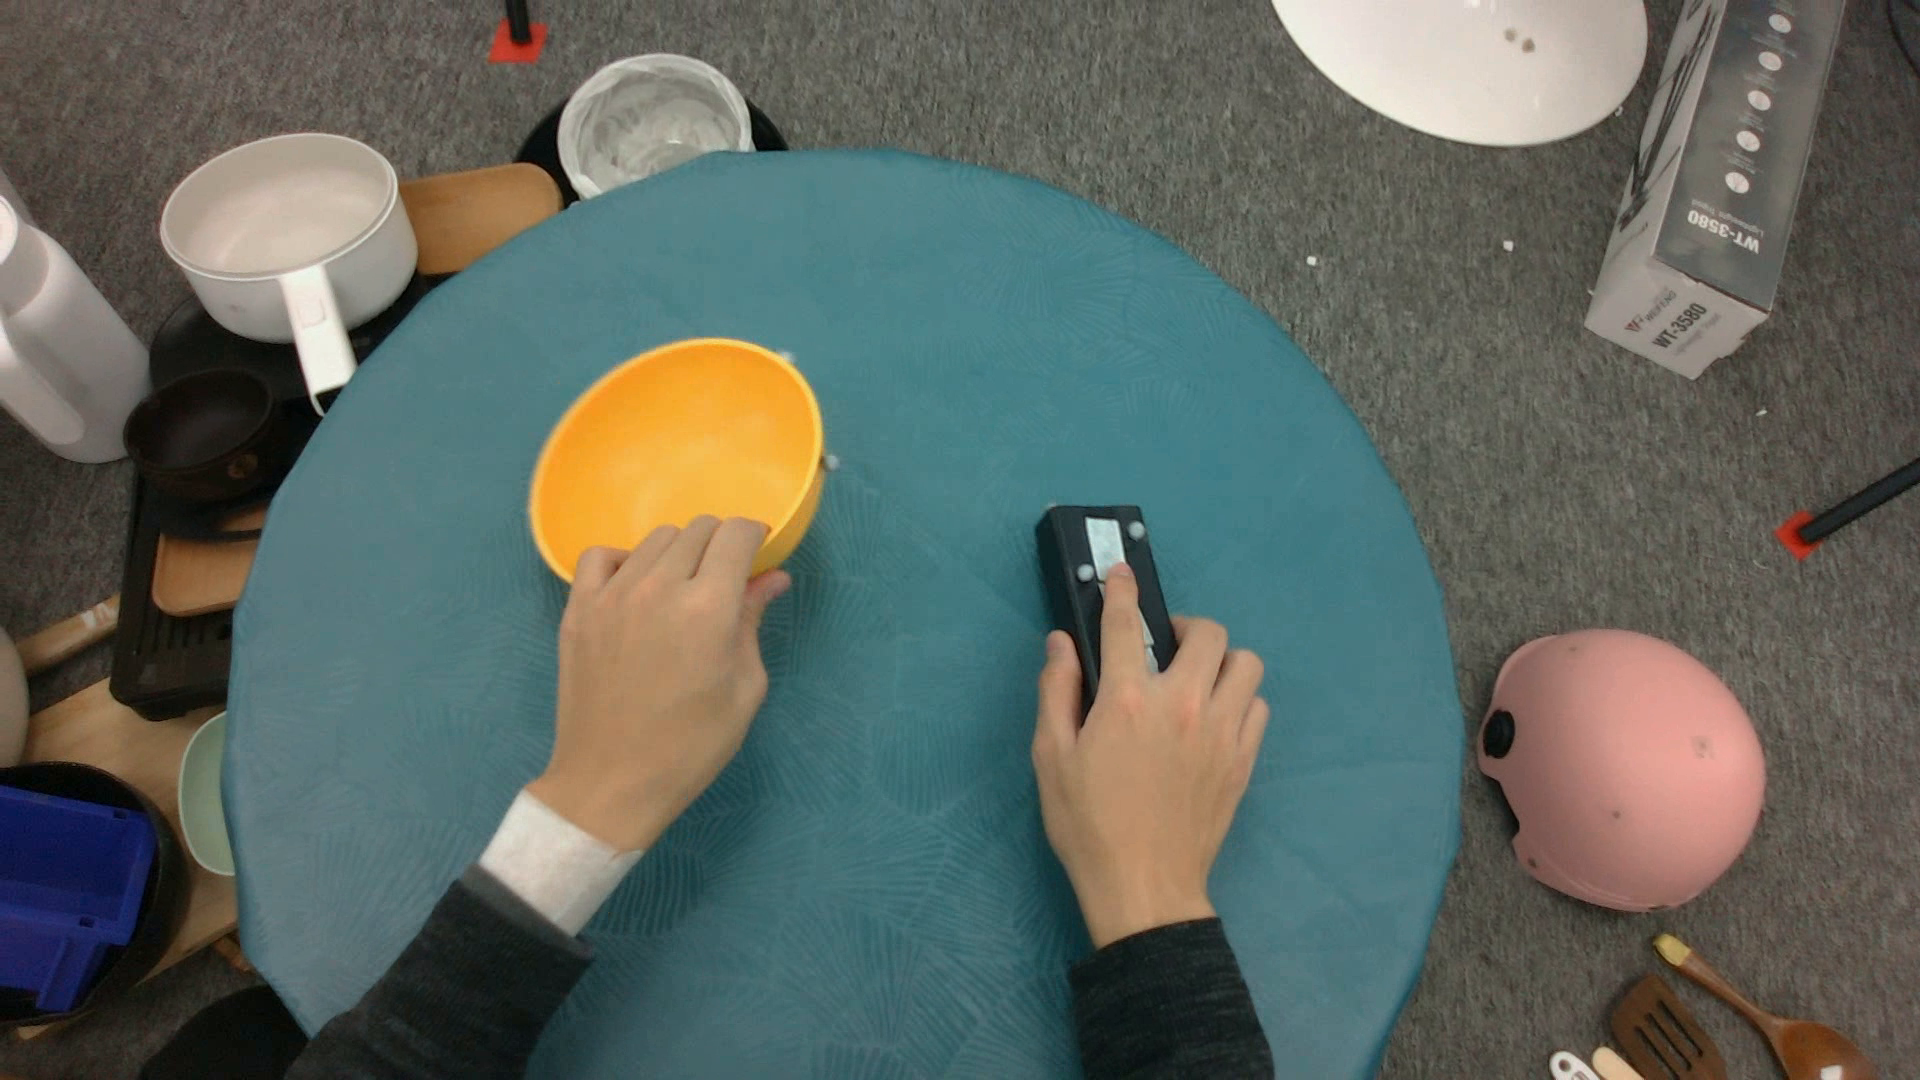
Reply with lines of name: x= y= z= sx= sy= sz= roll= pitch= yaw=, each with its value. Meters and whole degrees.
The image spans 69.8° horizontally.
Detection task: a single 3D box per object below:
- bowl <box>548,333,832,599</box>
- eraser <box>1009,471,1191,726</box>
bowl: x=-0.116 y=-0.025 z=0.648 sx=0.145 sy=0.060 sz=0.146 roll=-14 pitch=50 yaw=18
eraser: x=0.065 y=0.026 z=0.663 sx=0.053 sy=0.030 sz=0.126 roll=-6 pitch=59 yaw=-18
